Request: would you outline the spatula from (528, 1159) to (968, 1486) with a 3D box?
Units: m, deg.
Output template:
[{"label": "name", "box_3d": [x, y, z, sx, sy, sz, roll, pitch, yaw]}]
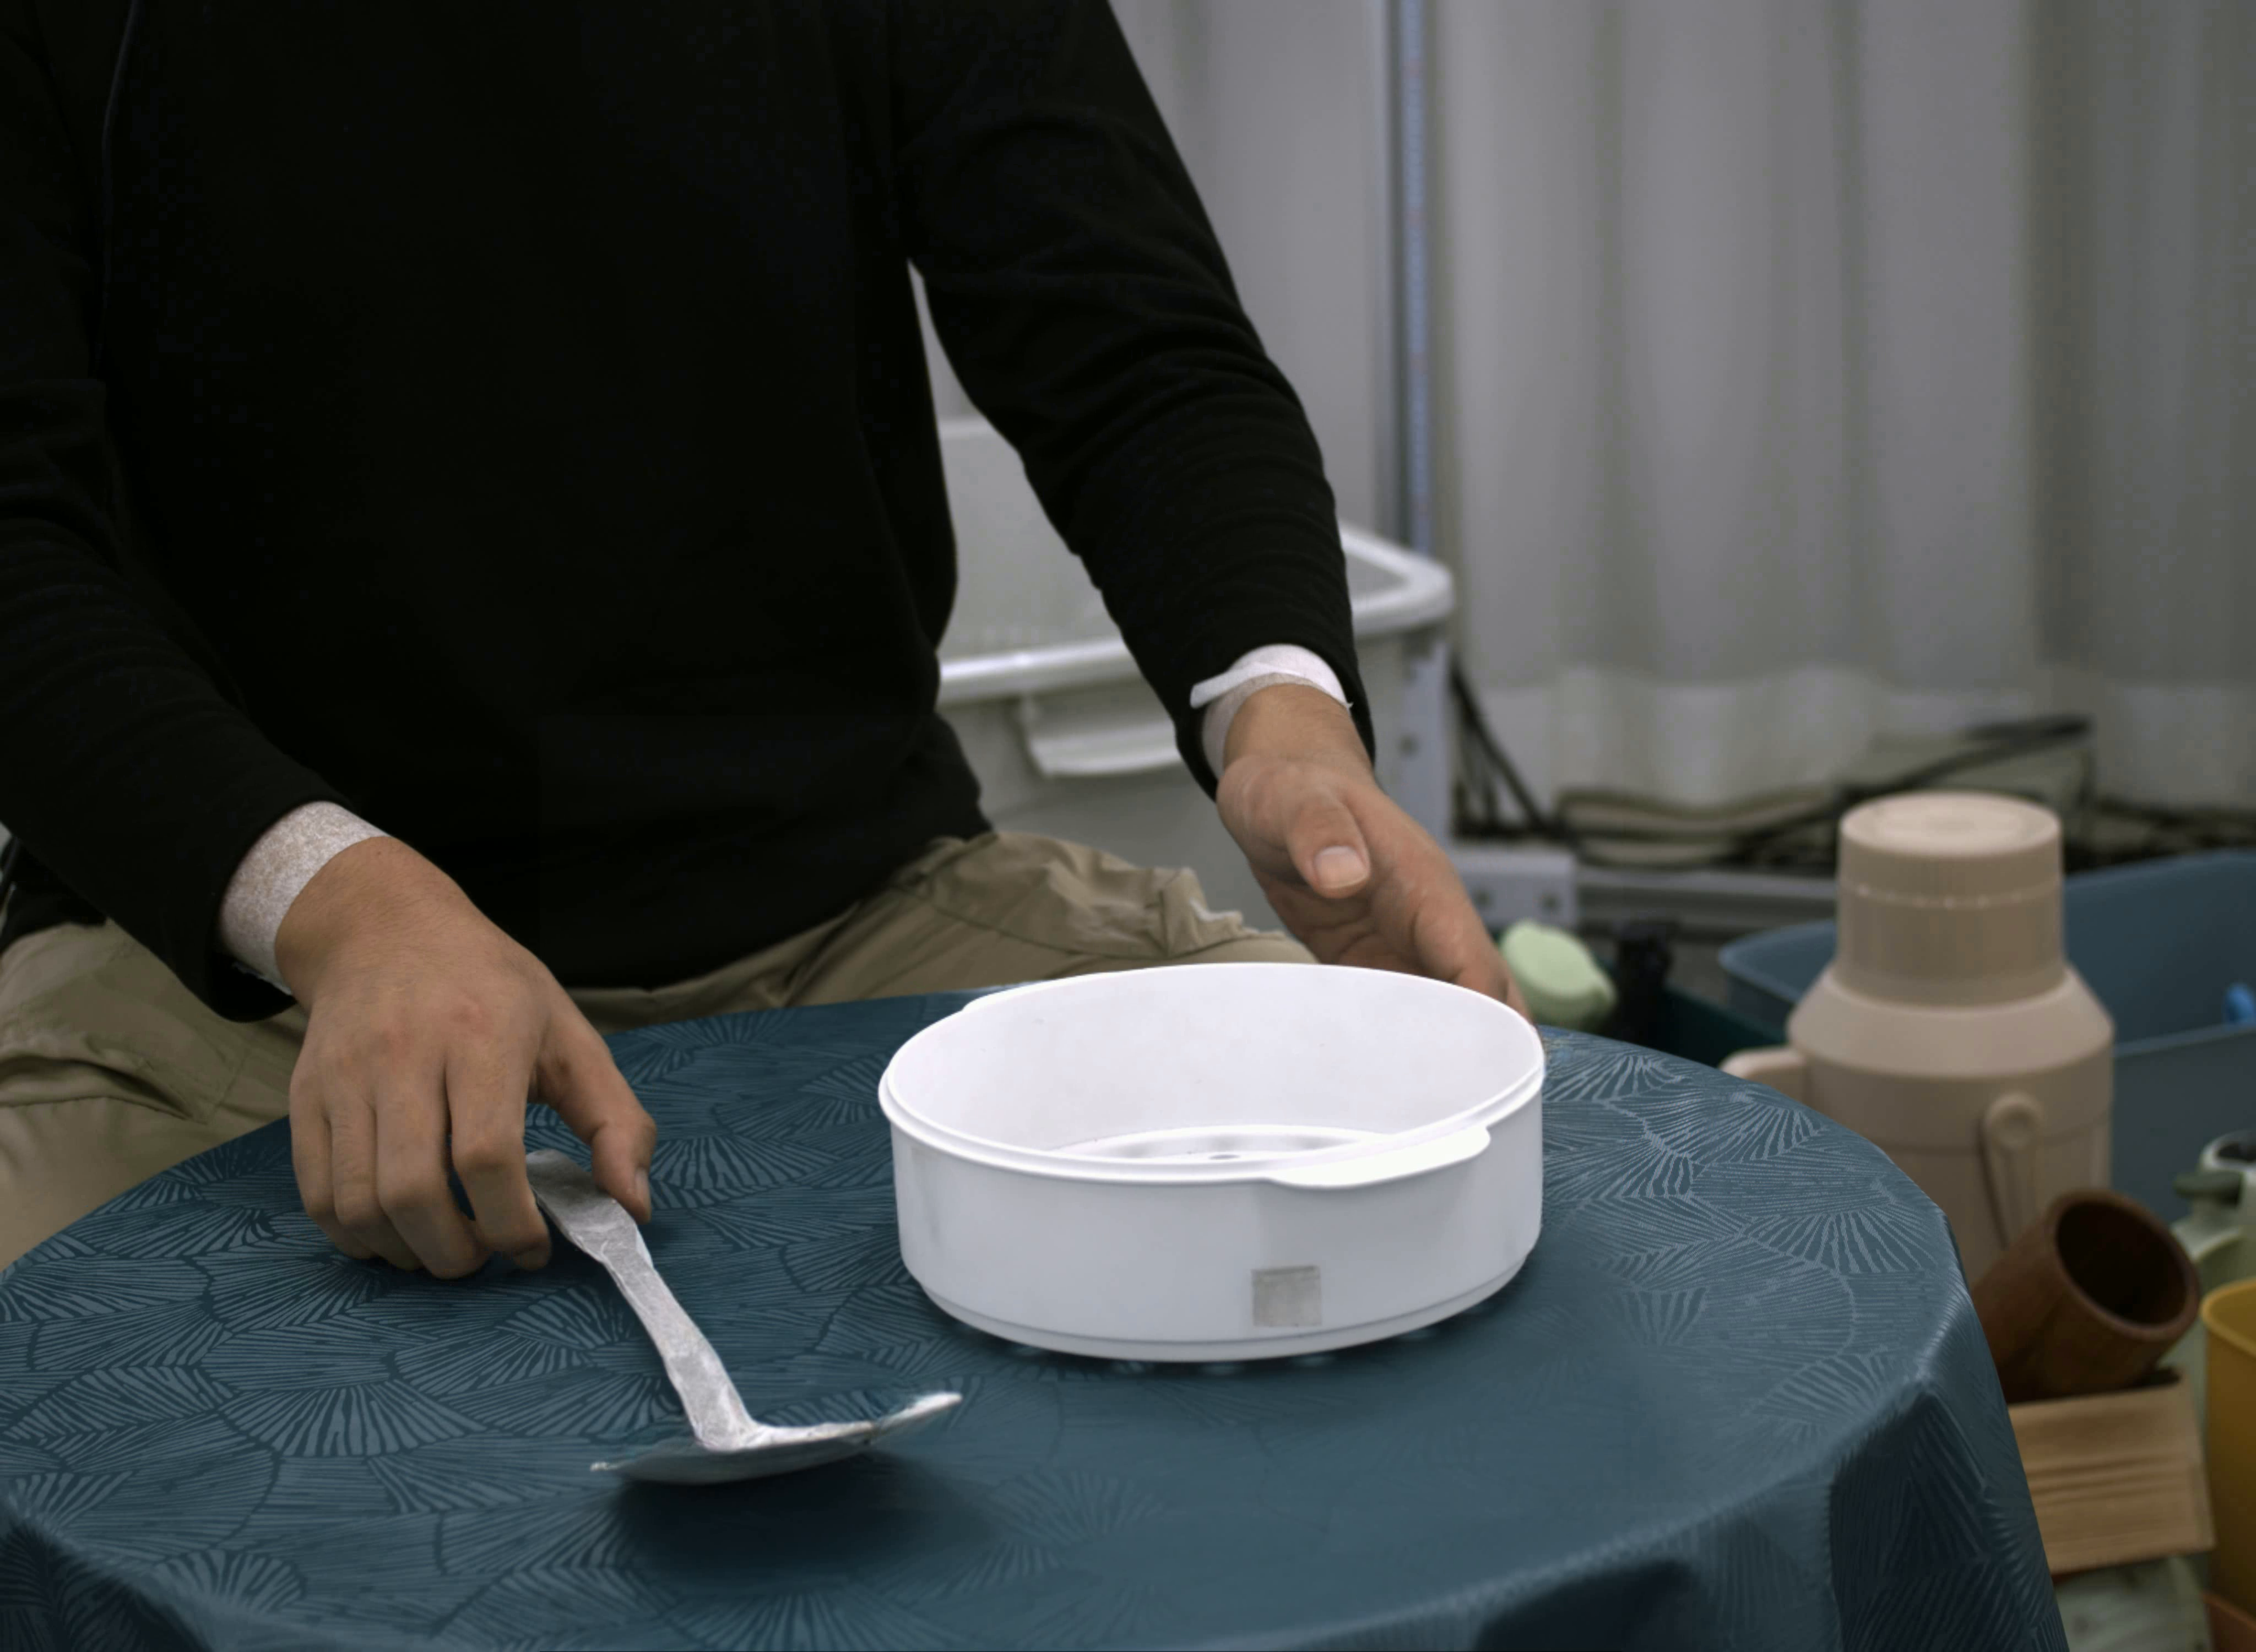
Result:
[{"label": "spatula", "box_3d": [-0.135, 0.135, 1.591, 0.098, 0.044, 0.368, -9, 16, -16]}]

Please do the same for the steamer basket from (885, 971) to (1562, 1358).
[{"label": "steamer basket", "box_3d": [0.029, 0.100, 1.627, 0.201, 0.069, 0.232, -9, 15, -26]}]
